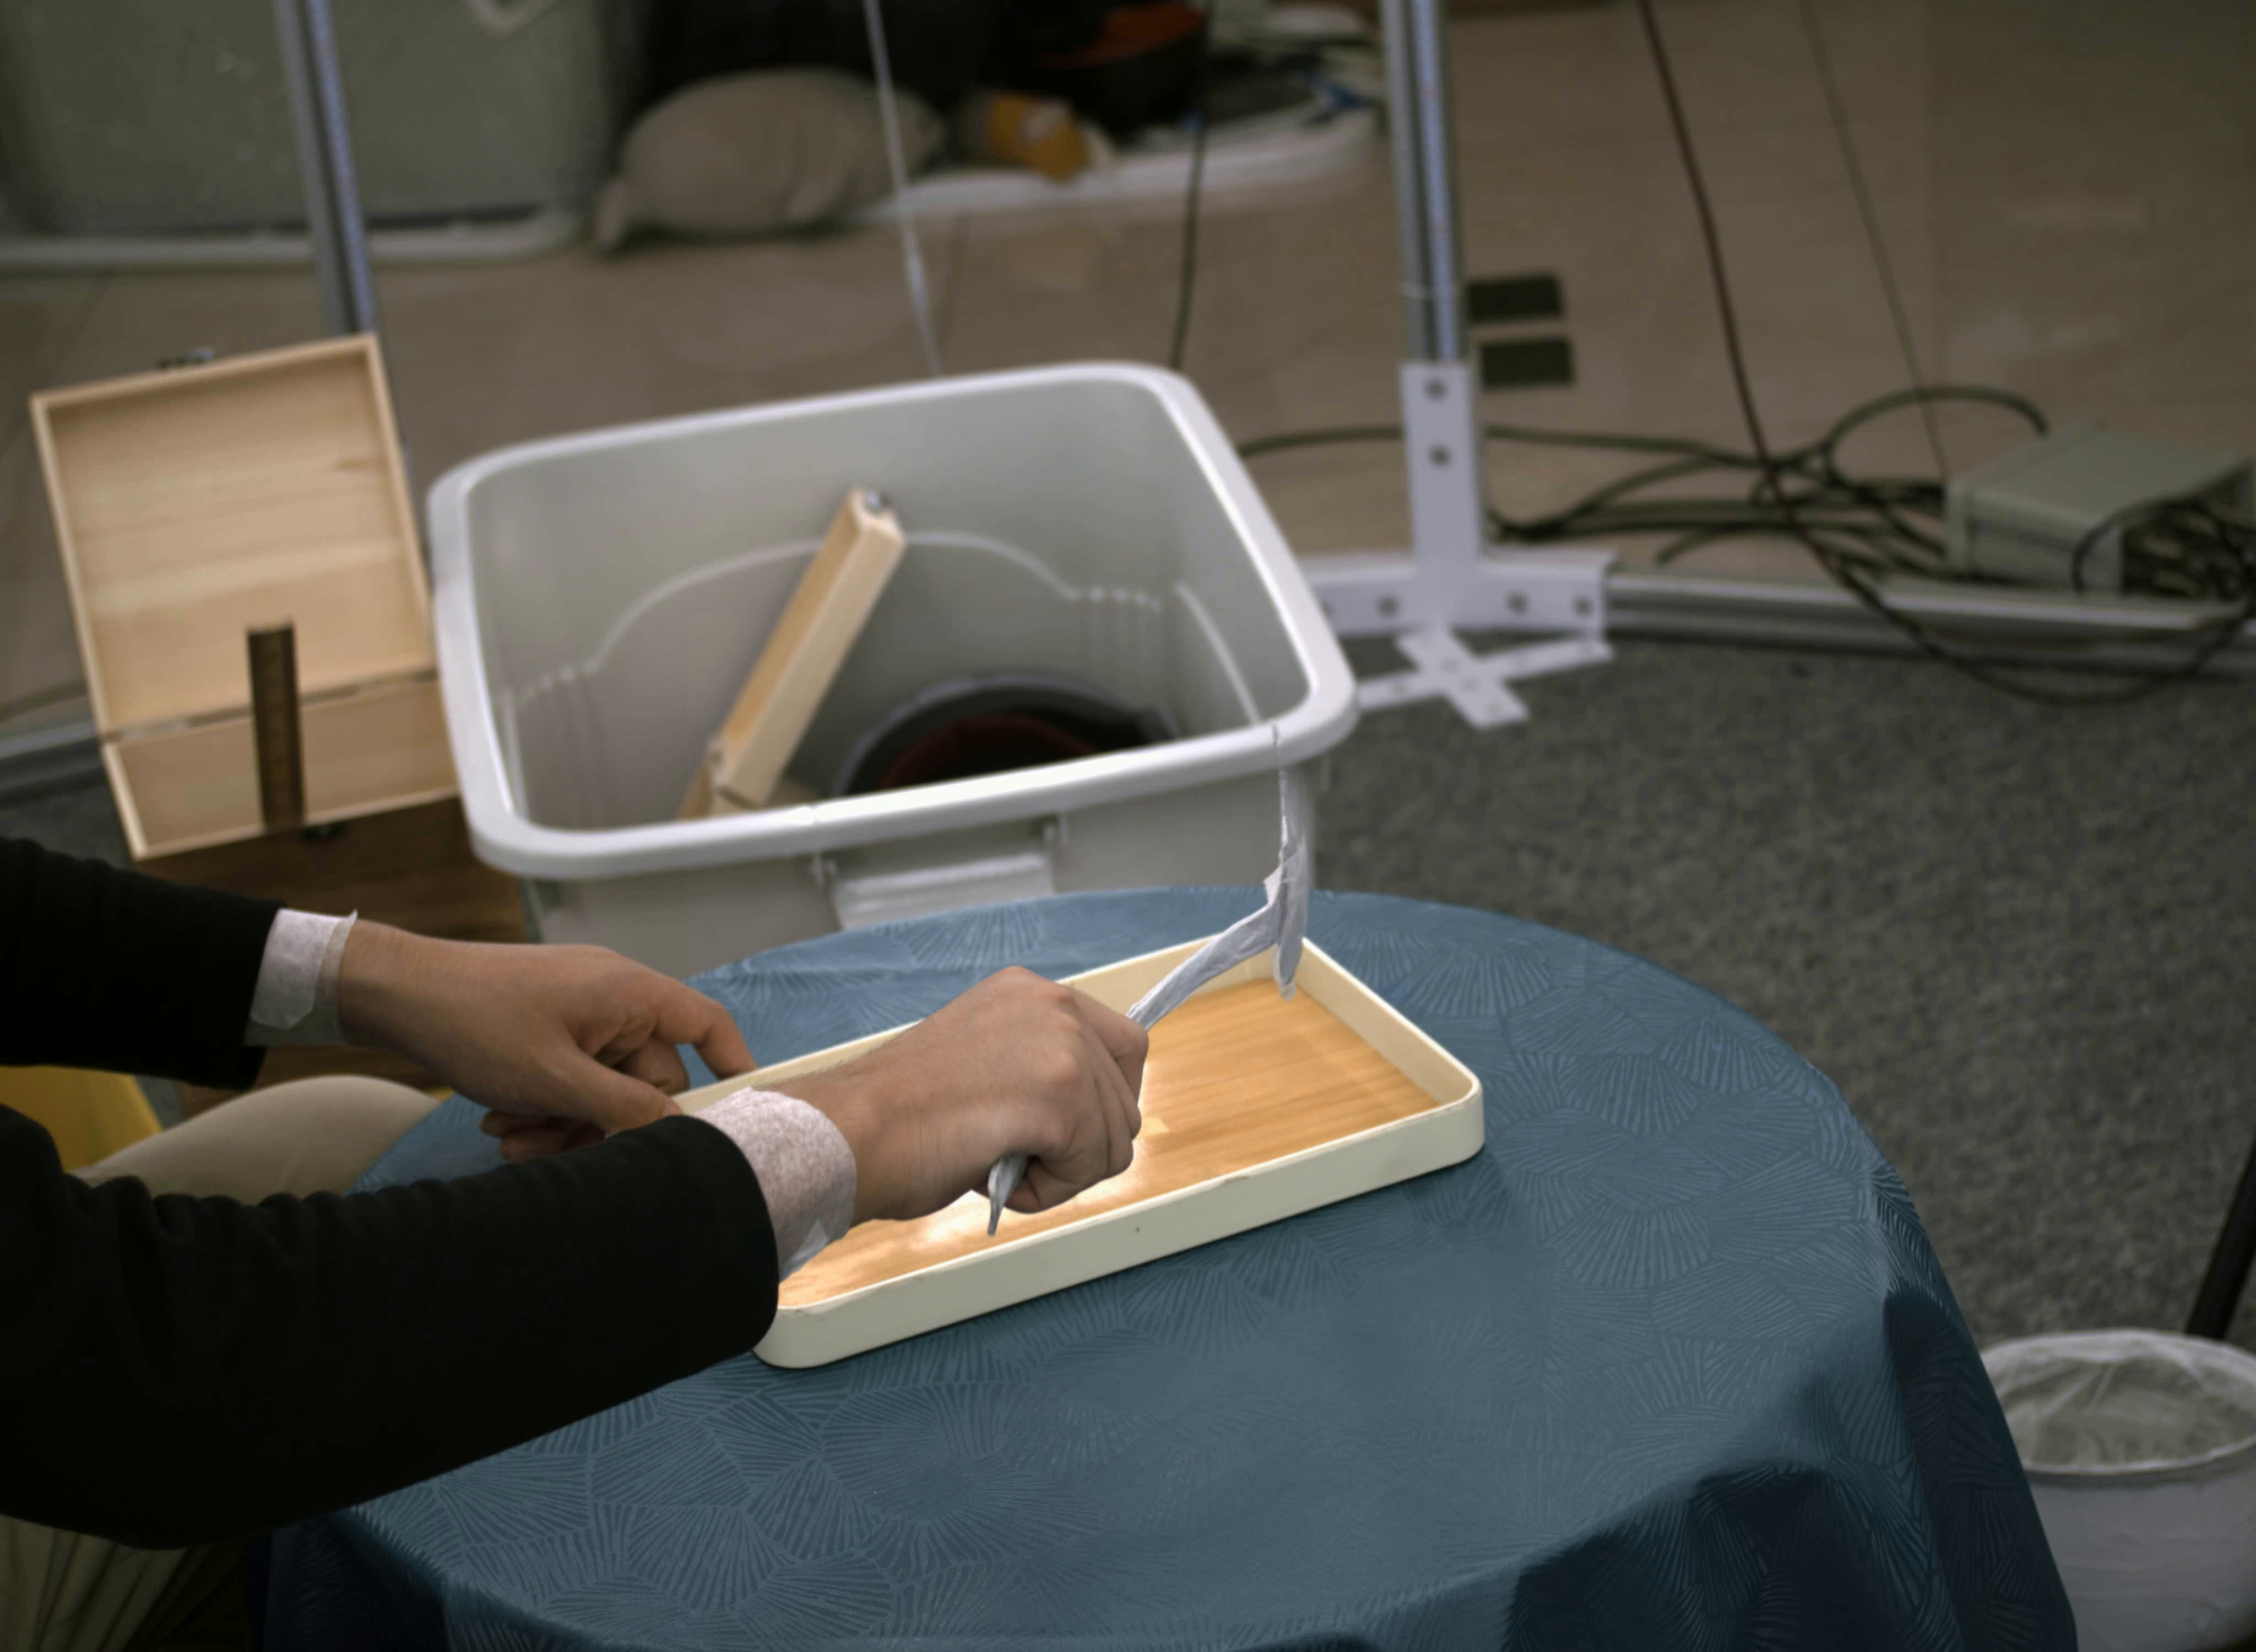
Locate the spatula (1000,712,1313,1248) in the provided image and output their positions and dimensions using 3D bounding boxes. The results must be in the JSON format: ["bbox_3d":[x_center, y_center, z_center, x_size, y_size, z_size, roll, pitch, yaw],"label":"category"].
[{"bbox_3d":[0.009,0.061,2.001,0.044,0.100,0.361,11,25,20],"label":"spatula"}]

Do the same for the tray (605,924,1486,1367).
[{"bbox_3d":[-0.033,0.118,2.168,0.299,0.028,0.189,-16,27,-19],"label":"tray"}]
